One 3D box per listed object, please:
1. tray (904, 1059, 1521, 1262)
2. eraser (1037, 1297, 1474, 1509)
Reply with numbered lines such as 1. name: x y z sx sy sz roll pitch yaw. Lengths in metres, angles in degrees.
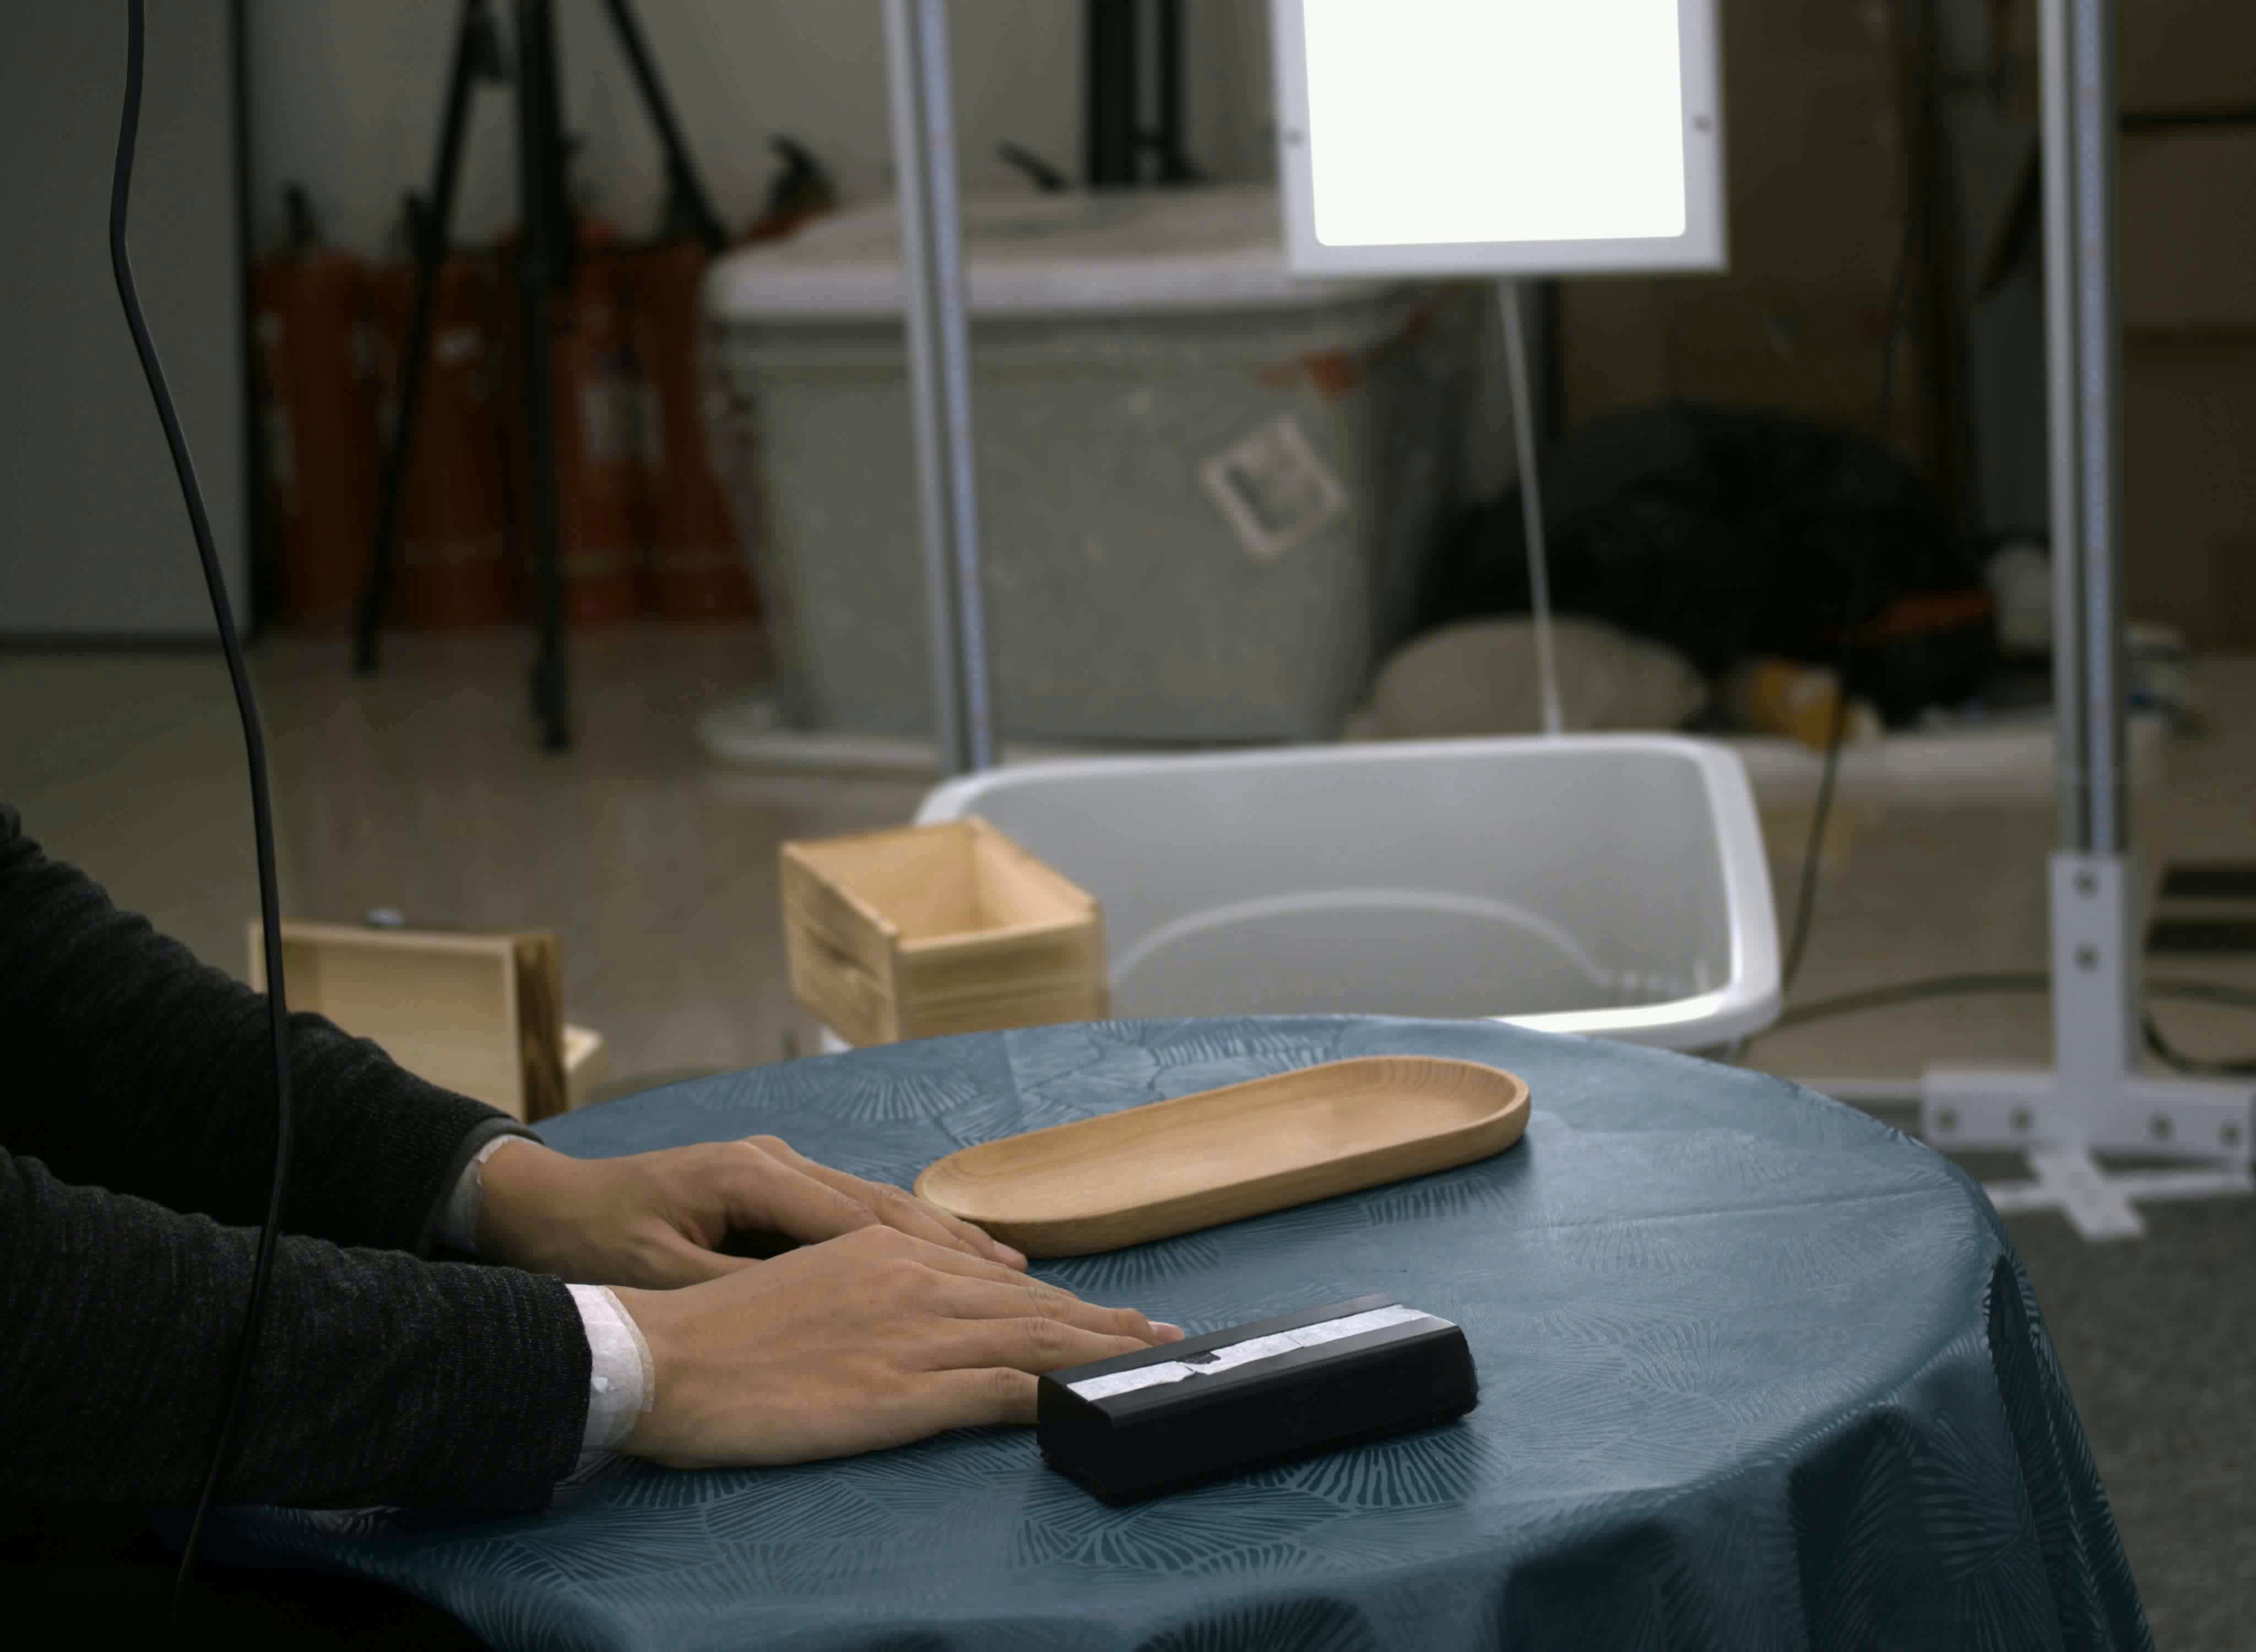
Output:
1. tray: 0.031 0.115 1.900 0.226 0.020 0.103 -13 15 -25
2. eraser: 0.040 0.171 1.644 0.123 0.030 0.054 -13 13 -24
